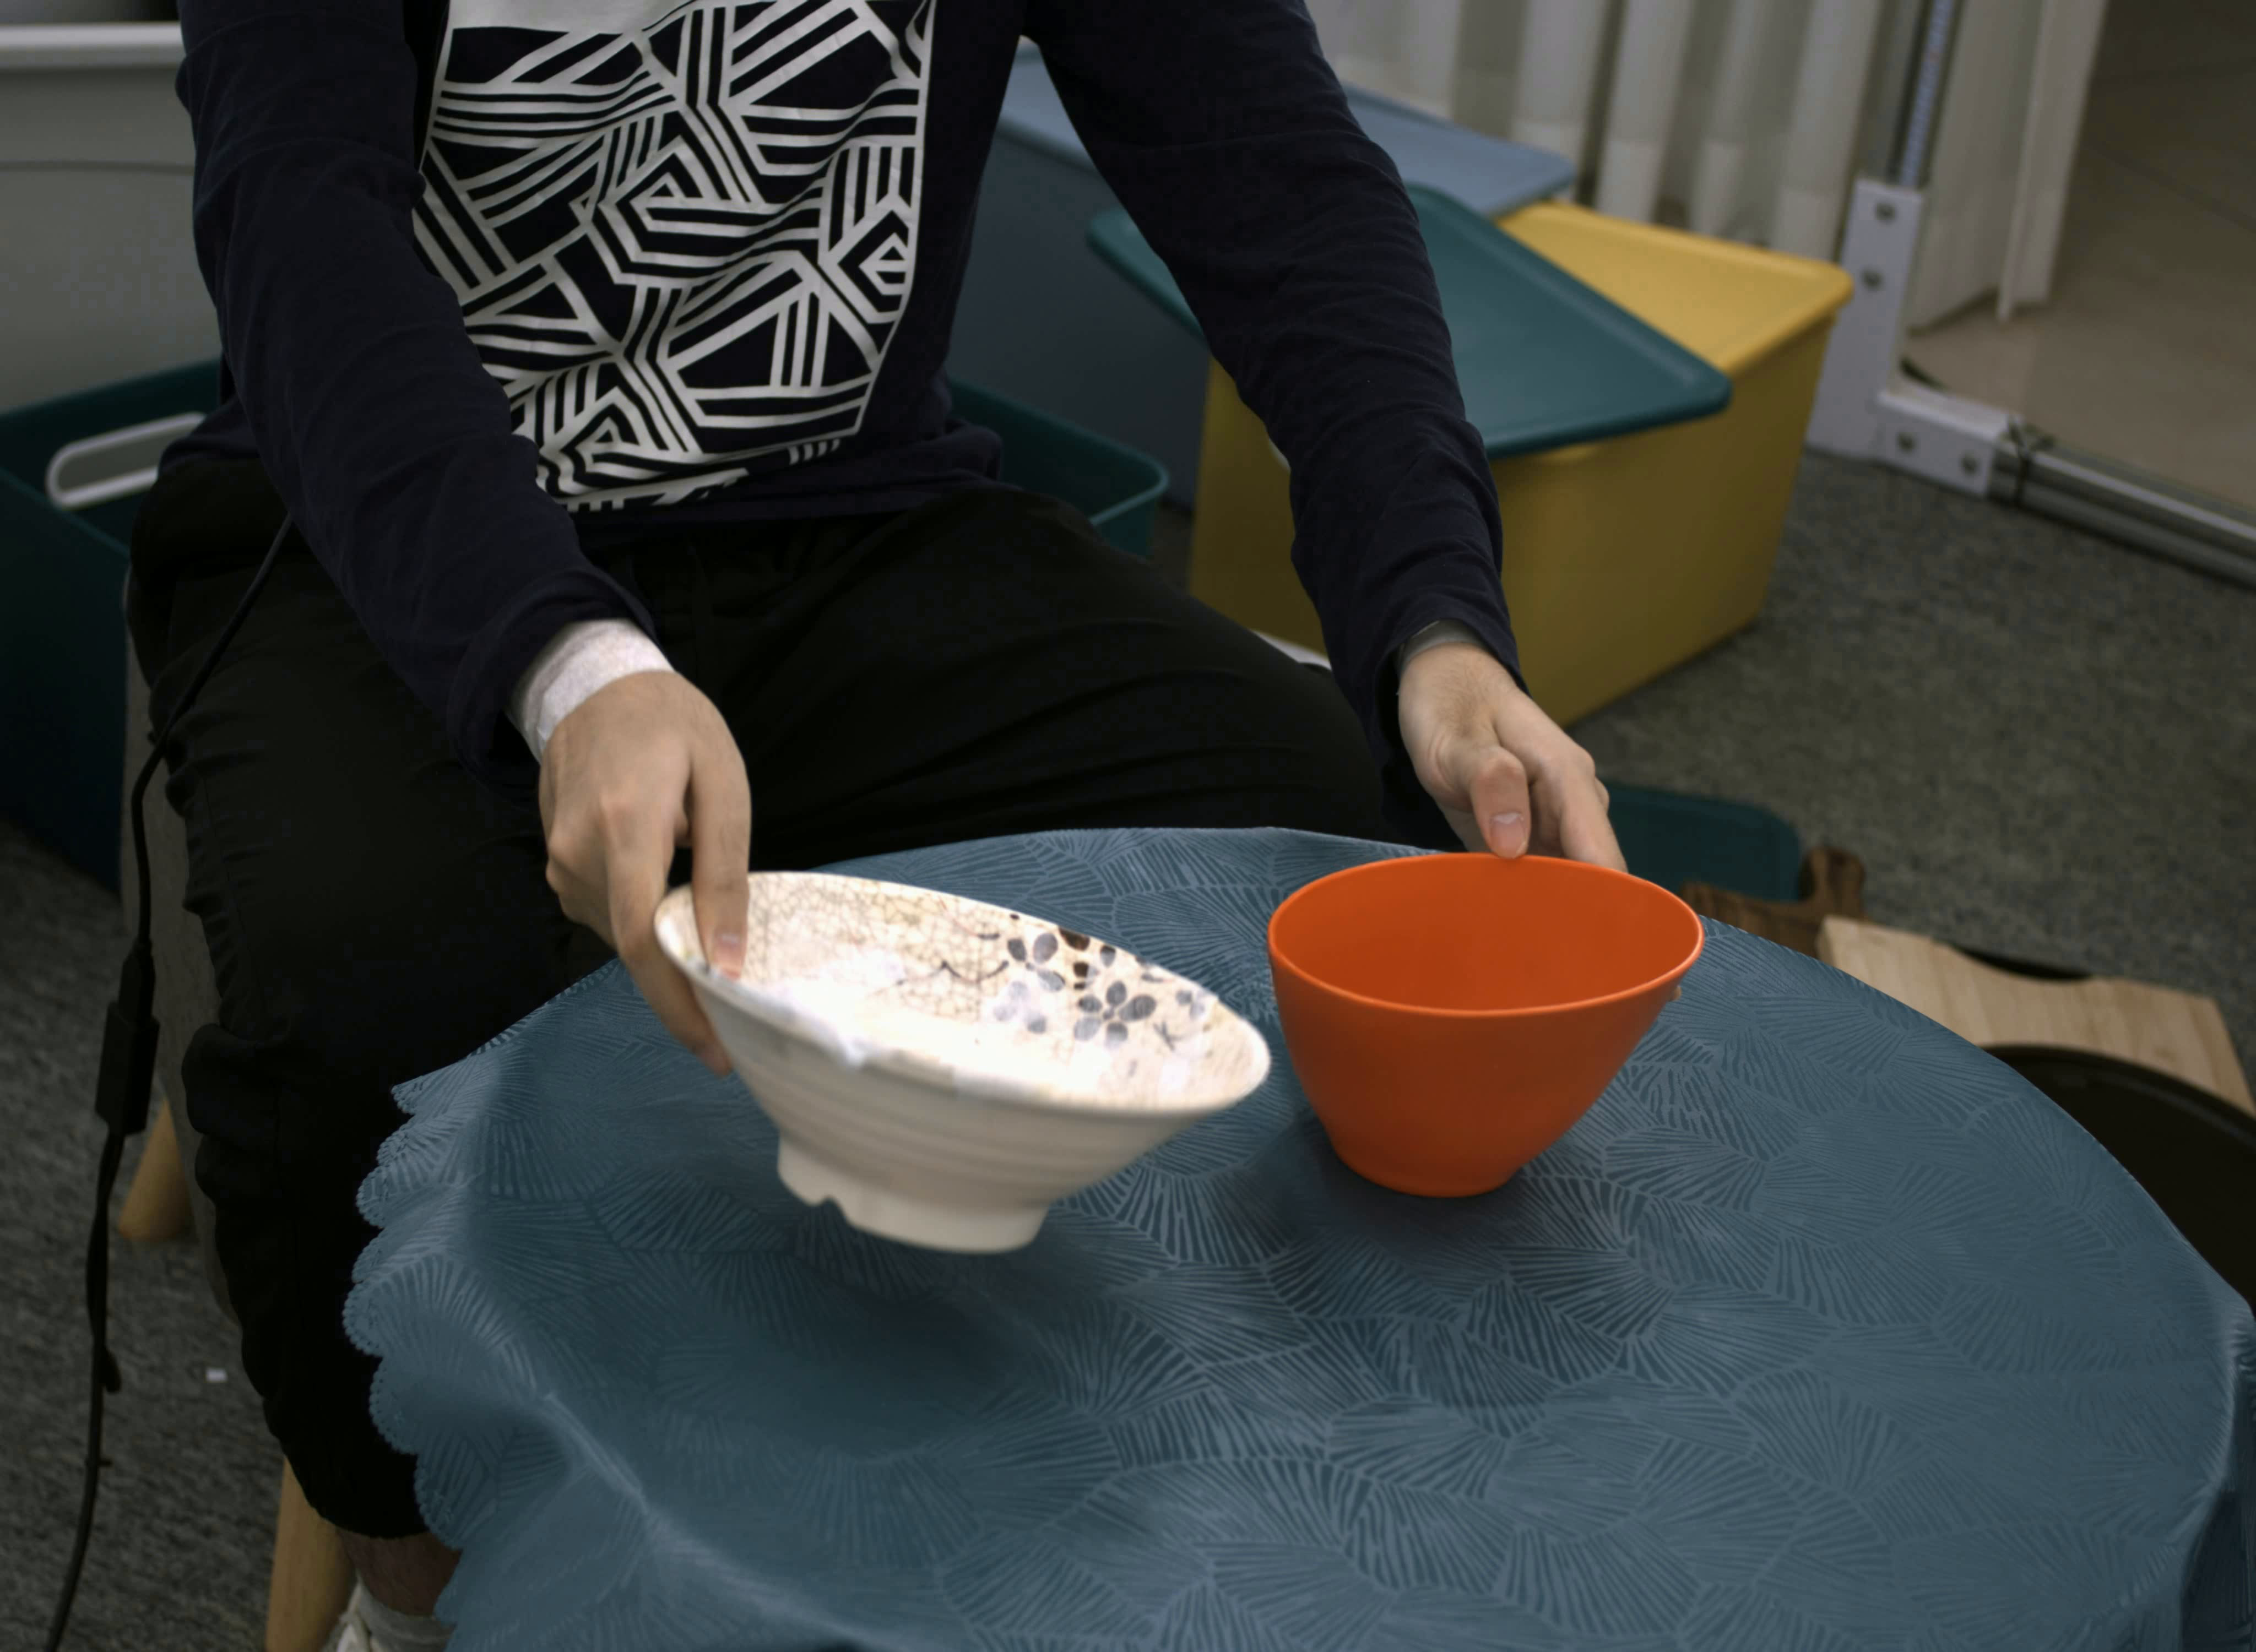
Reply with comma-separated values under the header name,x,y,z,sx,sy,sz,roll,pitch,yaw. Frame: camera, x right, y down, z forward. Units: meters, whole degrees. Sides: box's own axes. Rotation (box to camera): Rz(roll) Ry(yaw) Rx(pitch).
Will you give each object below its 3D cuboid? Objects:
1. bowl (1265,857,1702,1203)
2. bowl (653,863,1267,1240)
name,x,y,z,sx,sy,sz,roll,pitch,yaw
bowl,0.116,0.073,1.822,0.147,0.104,0.149,4,25,-2
bowl,-0.062,0.081,1.707,0.203,0.078,0.204,14,11,-3
